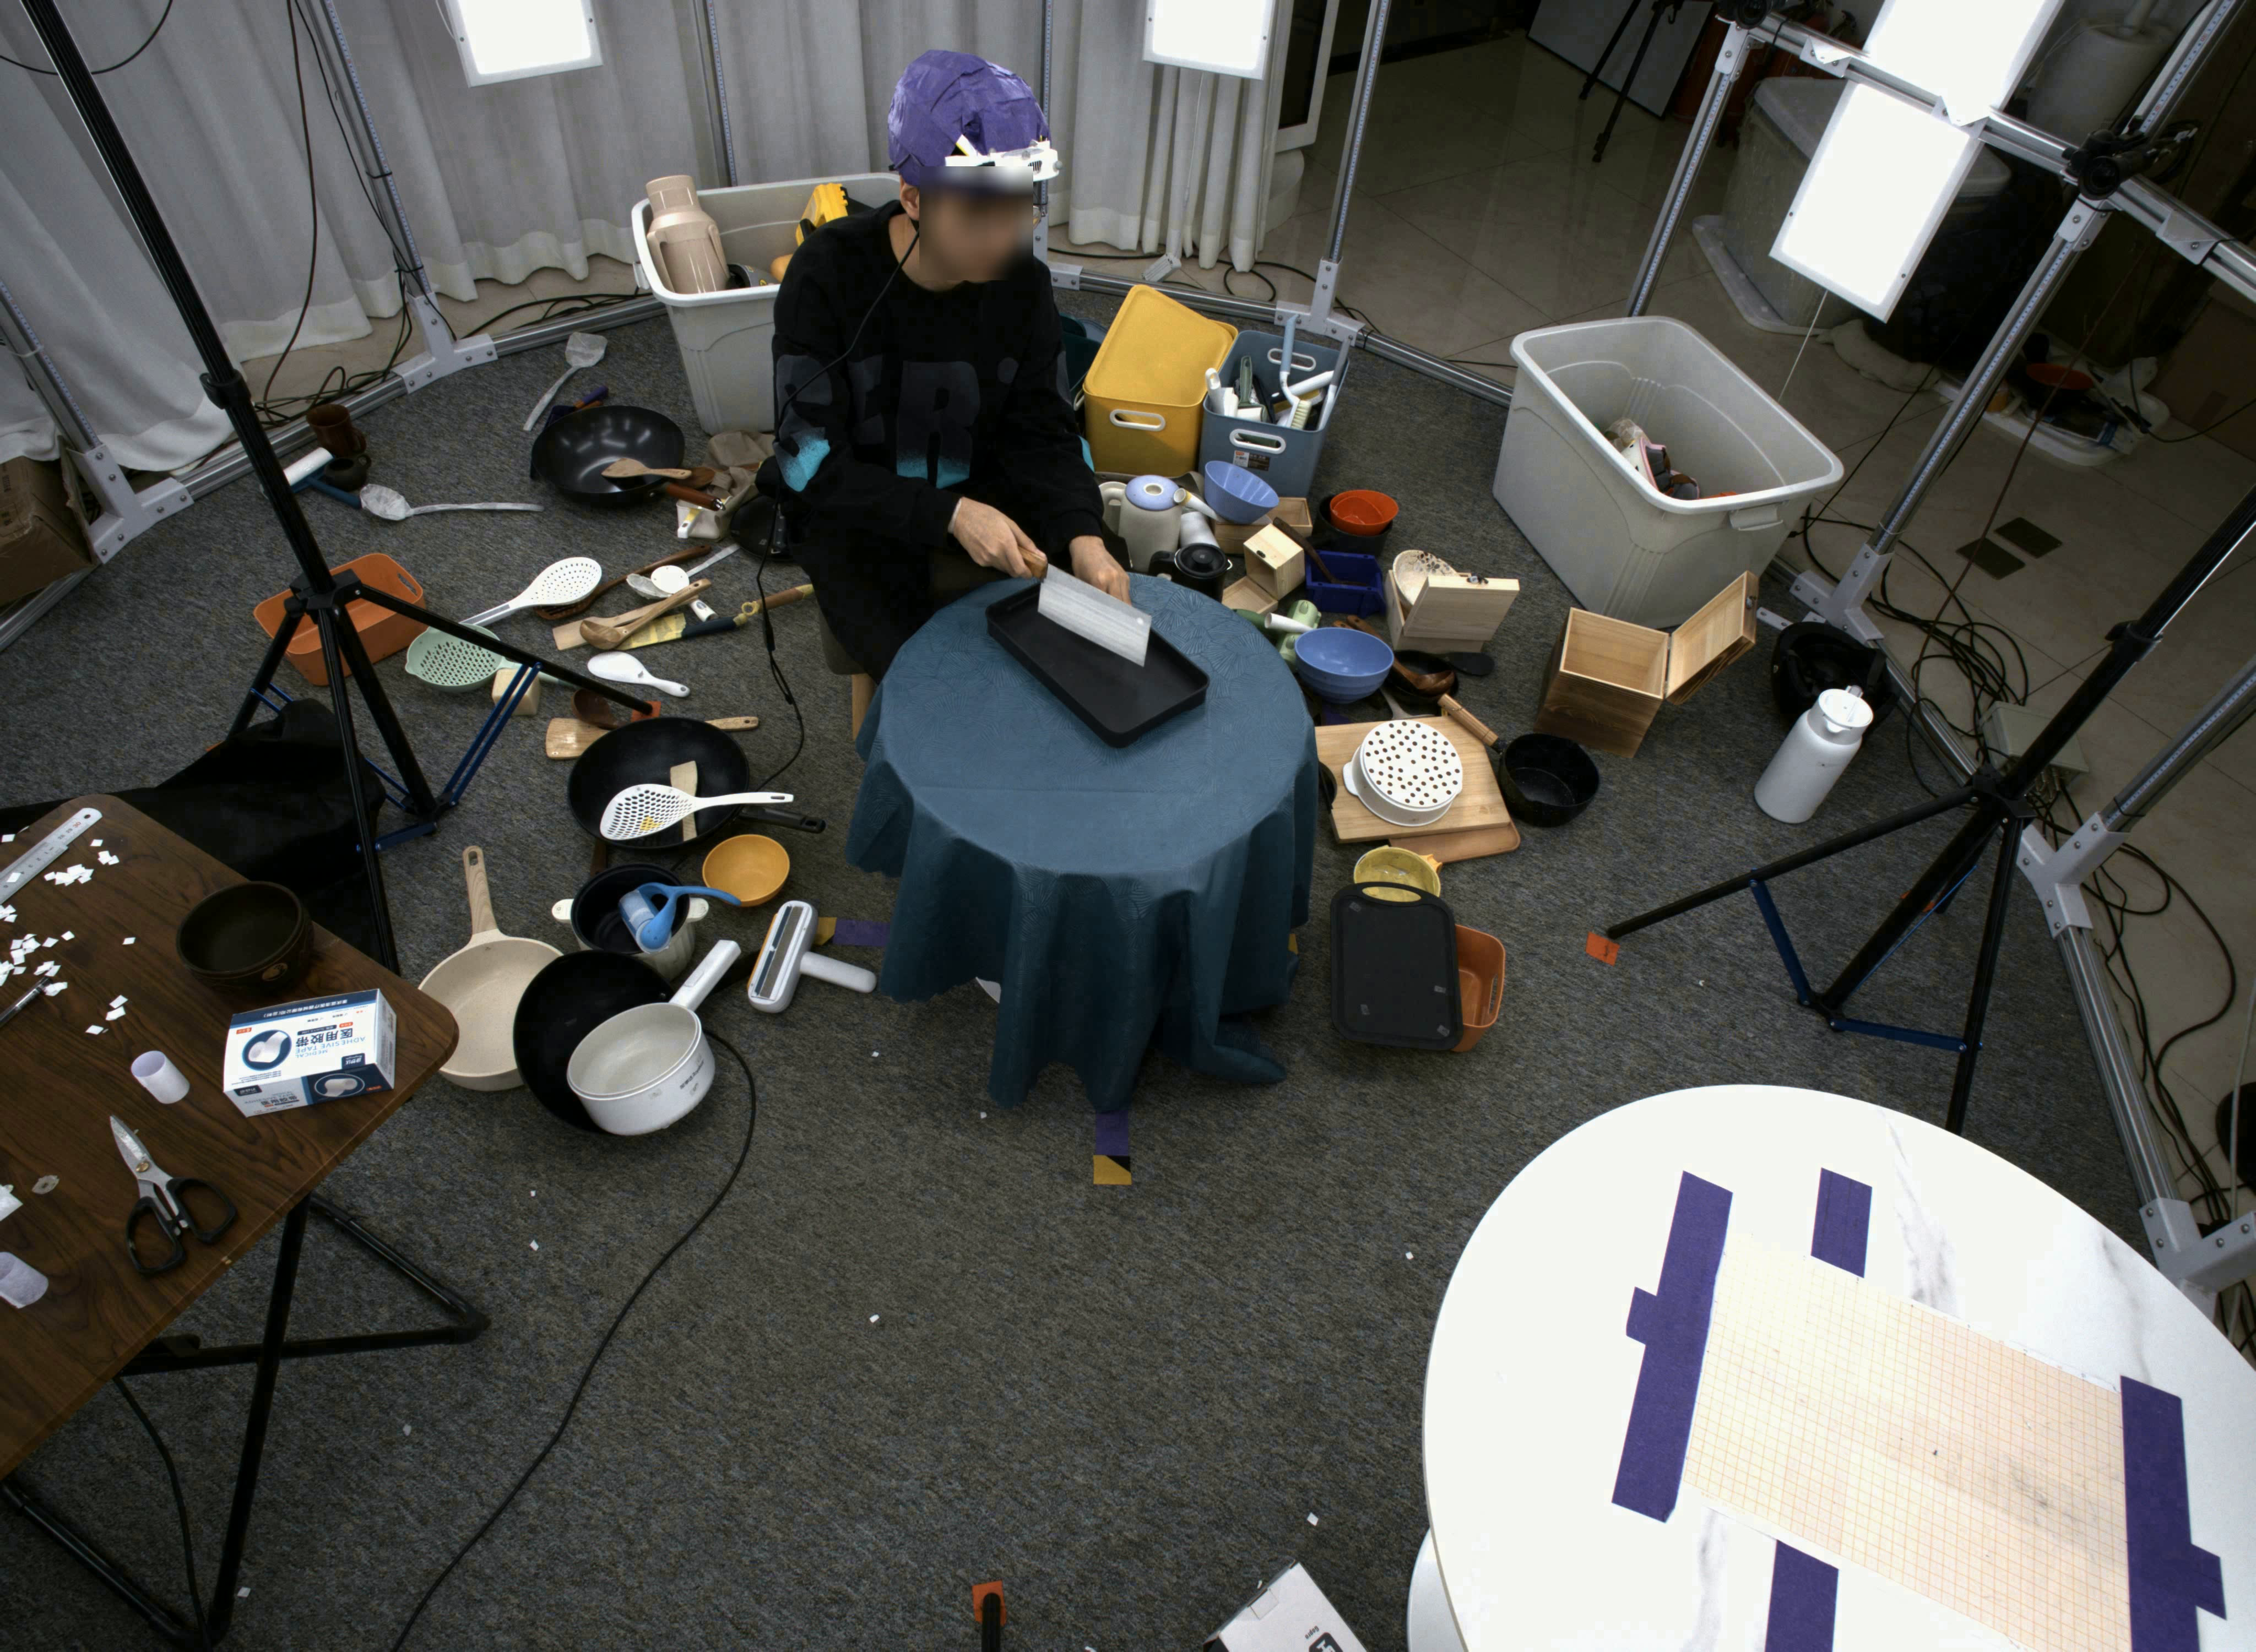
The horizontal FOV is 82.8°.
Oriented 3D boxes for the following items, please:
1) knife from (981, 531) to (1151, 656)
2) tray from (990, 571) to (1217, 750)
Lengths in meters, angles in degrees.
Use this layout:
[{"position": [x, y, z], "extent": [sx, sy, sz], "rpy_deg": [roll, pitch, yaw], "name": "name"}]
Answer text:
[{"position": [-0.092, -0.330, 1.848], "extent": [0.309, 0.091, 0.021], "rpy_deg": [30, 48, 22], "name": "knife"}, {"position": [-0.038, -0.245, 1.856], "extent": [0.185, 0.036, 0.323], "rpy_deg": [-32, 58, -27], "name": "tray"}]
